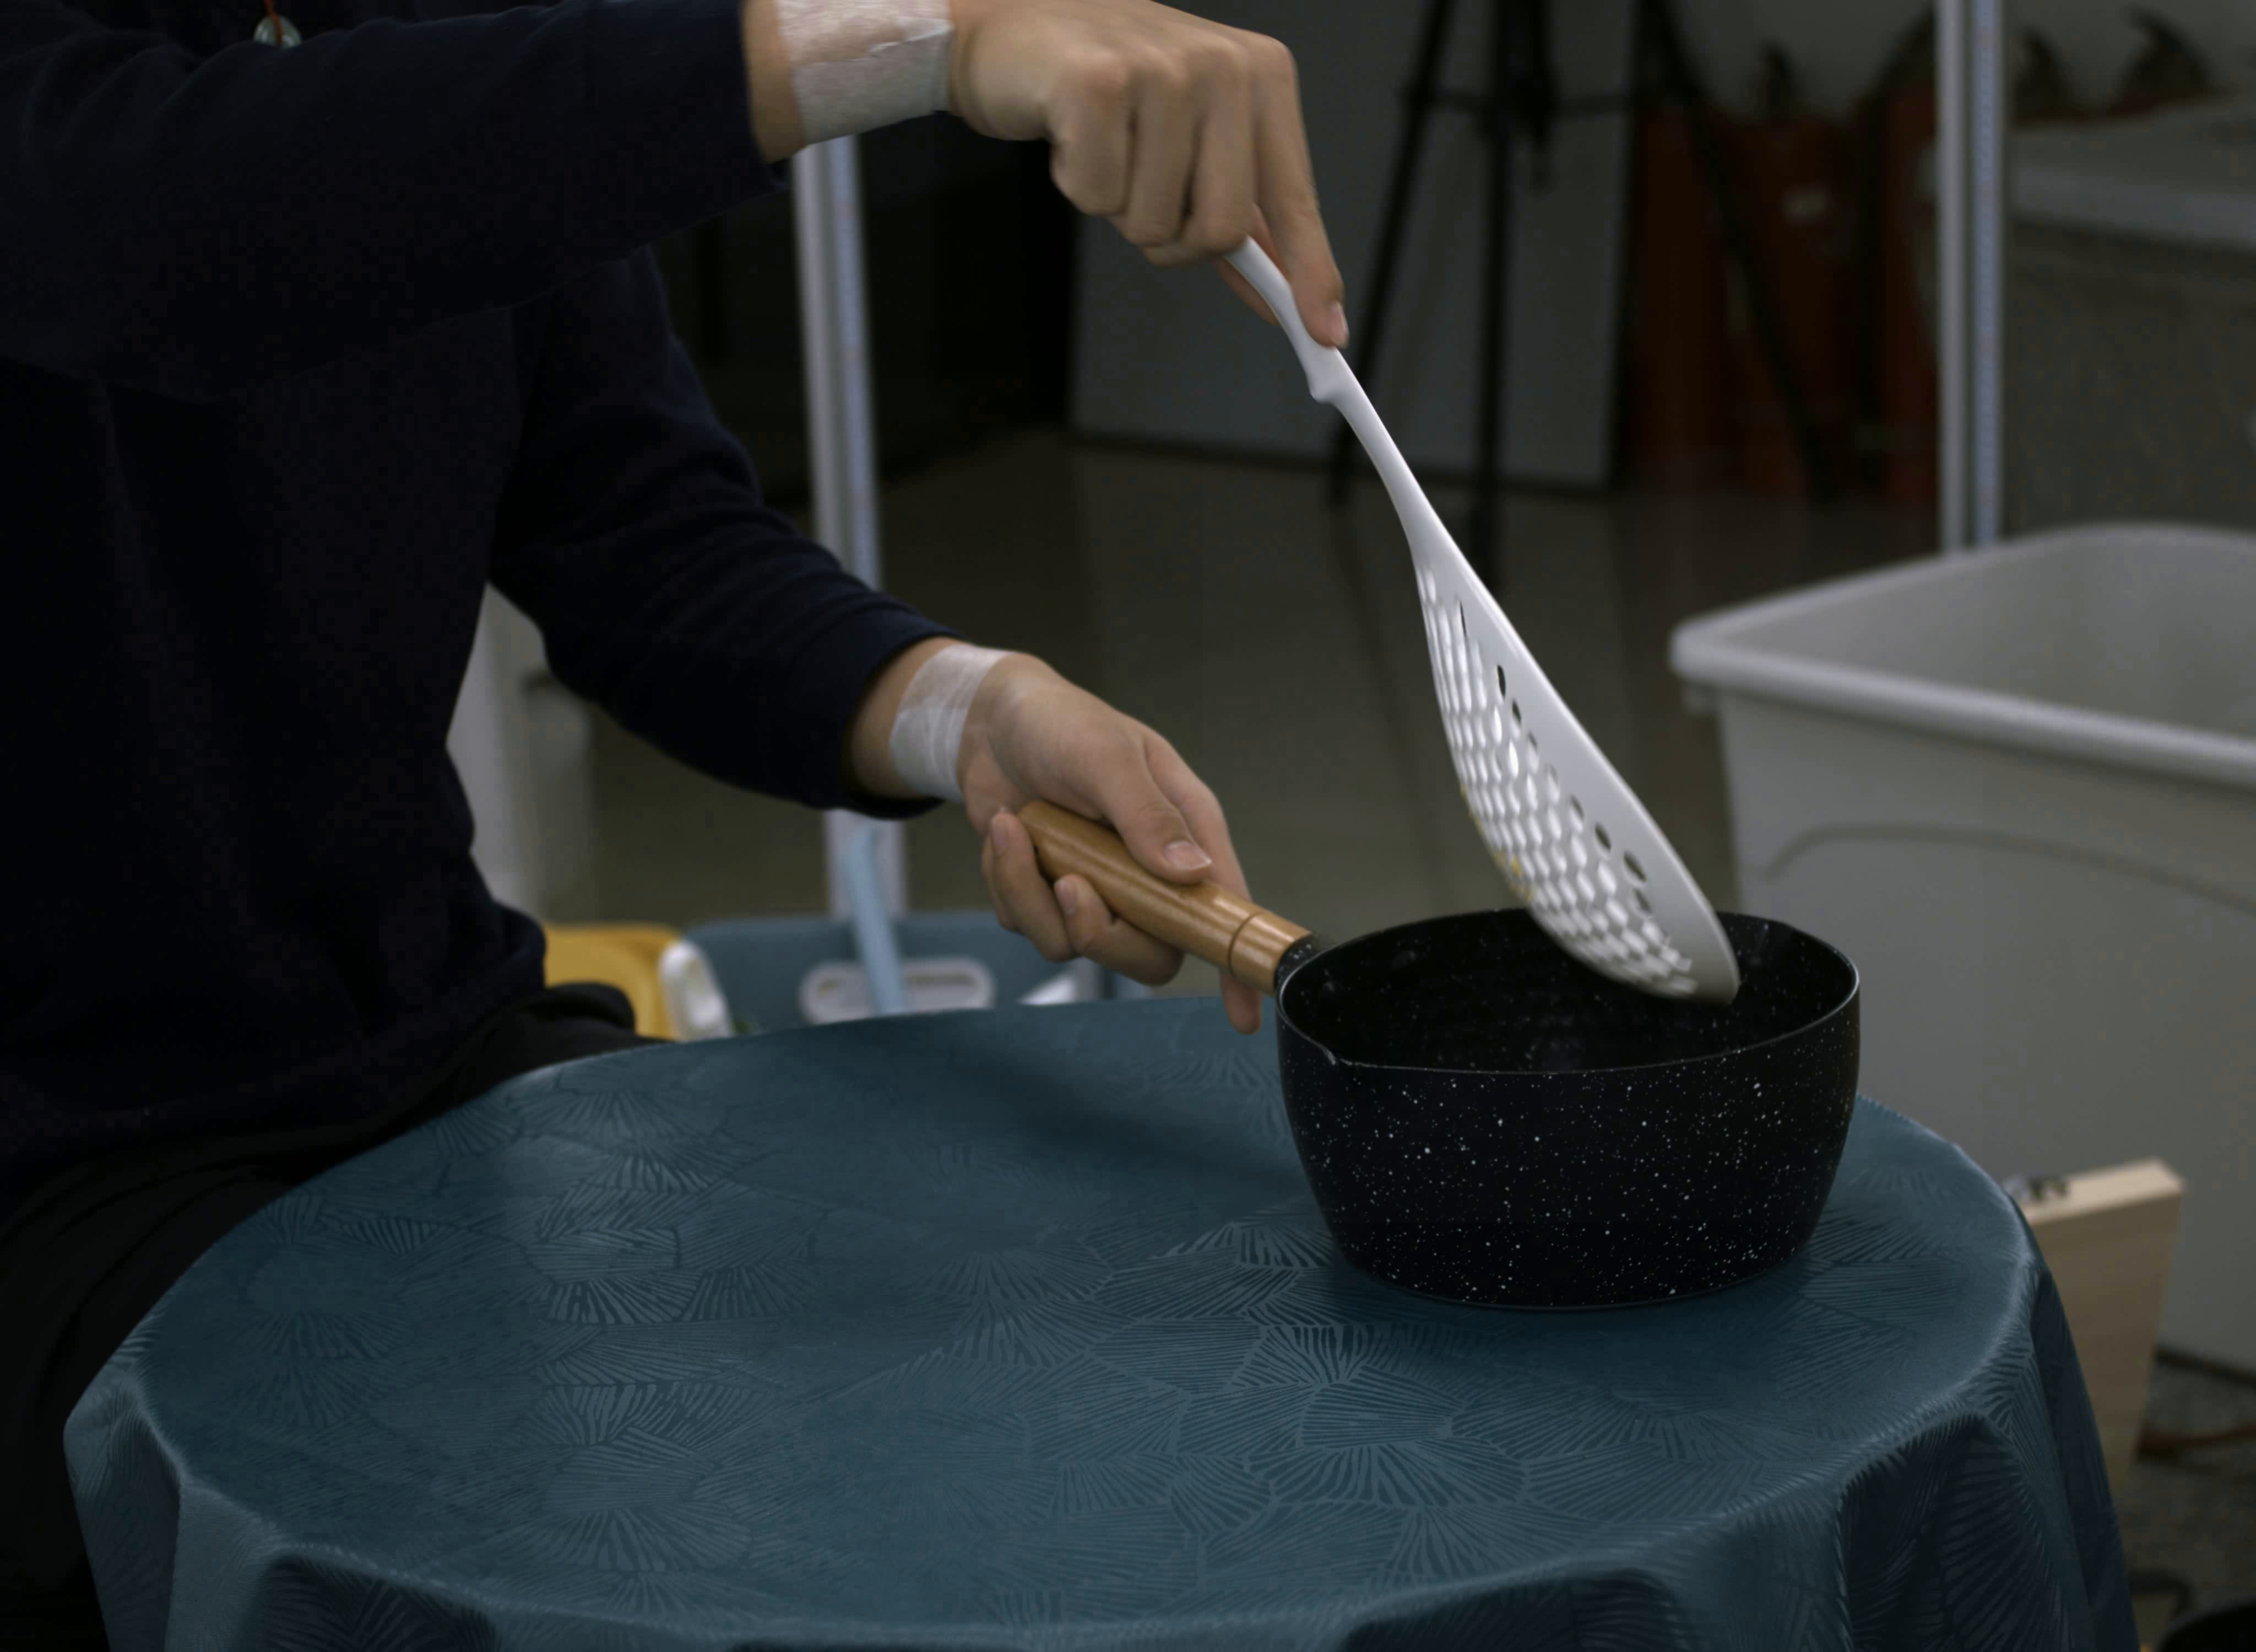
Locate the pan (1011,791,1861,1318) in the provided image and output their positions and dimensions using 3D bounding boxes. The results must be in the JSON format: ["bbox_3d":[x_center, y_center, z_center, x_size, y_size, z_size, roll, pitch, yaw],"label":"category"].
[{"bbox_3d":[0.083,0.066,1.740,0.203,0.109,0.346,-18,20,-41],"label":"pan"}]

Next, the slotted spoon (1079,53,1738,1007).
[{"bbox_3d":[0.083,-0.087,1.636,0.050,0.349,0.137,-28,12,-5],"label":"slotted spoon"}]
